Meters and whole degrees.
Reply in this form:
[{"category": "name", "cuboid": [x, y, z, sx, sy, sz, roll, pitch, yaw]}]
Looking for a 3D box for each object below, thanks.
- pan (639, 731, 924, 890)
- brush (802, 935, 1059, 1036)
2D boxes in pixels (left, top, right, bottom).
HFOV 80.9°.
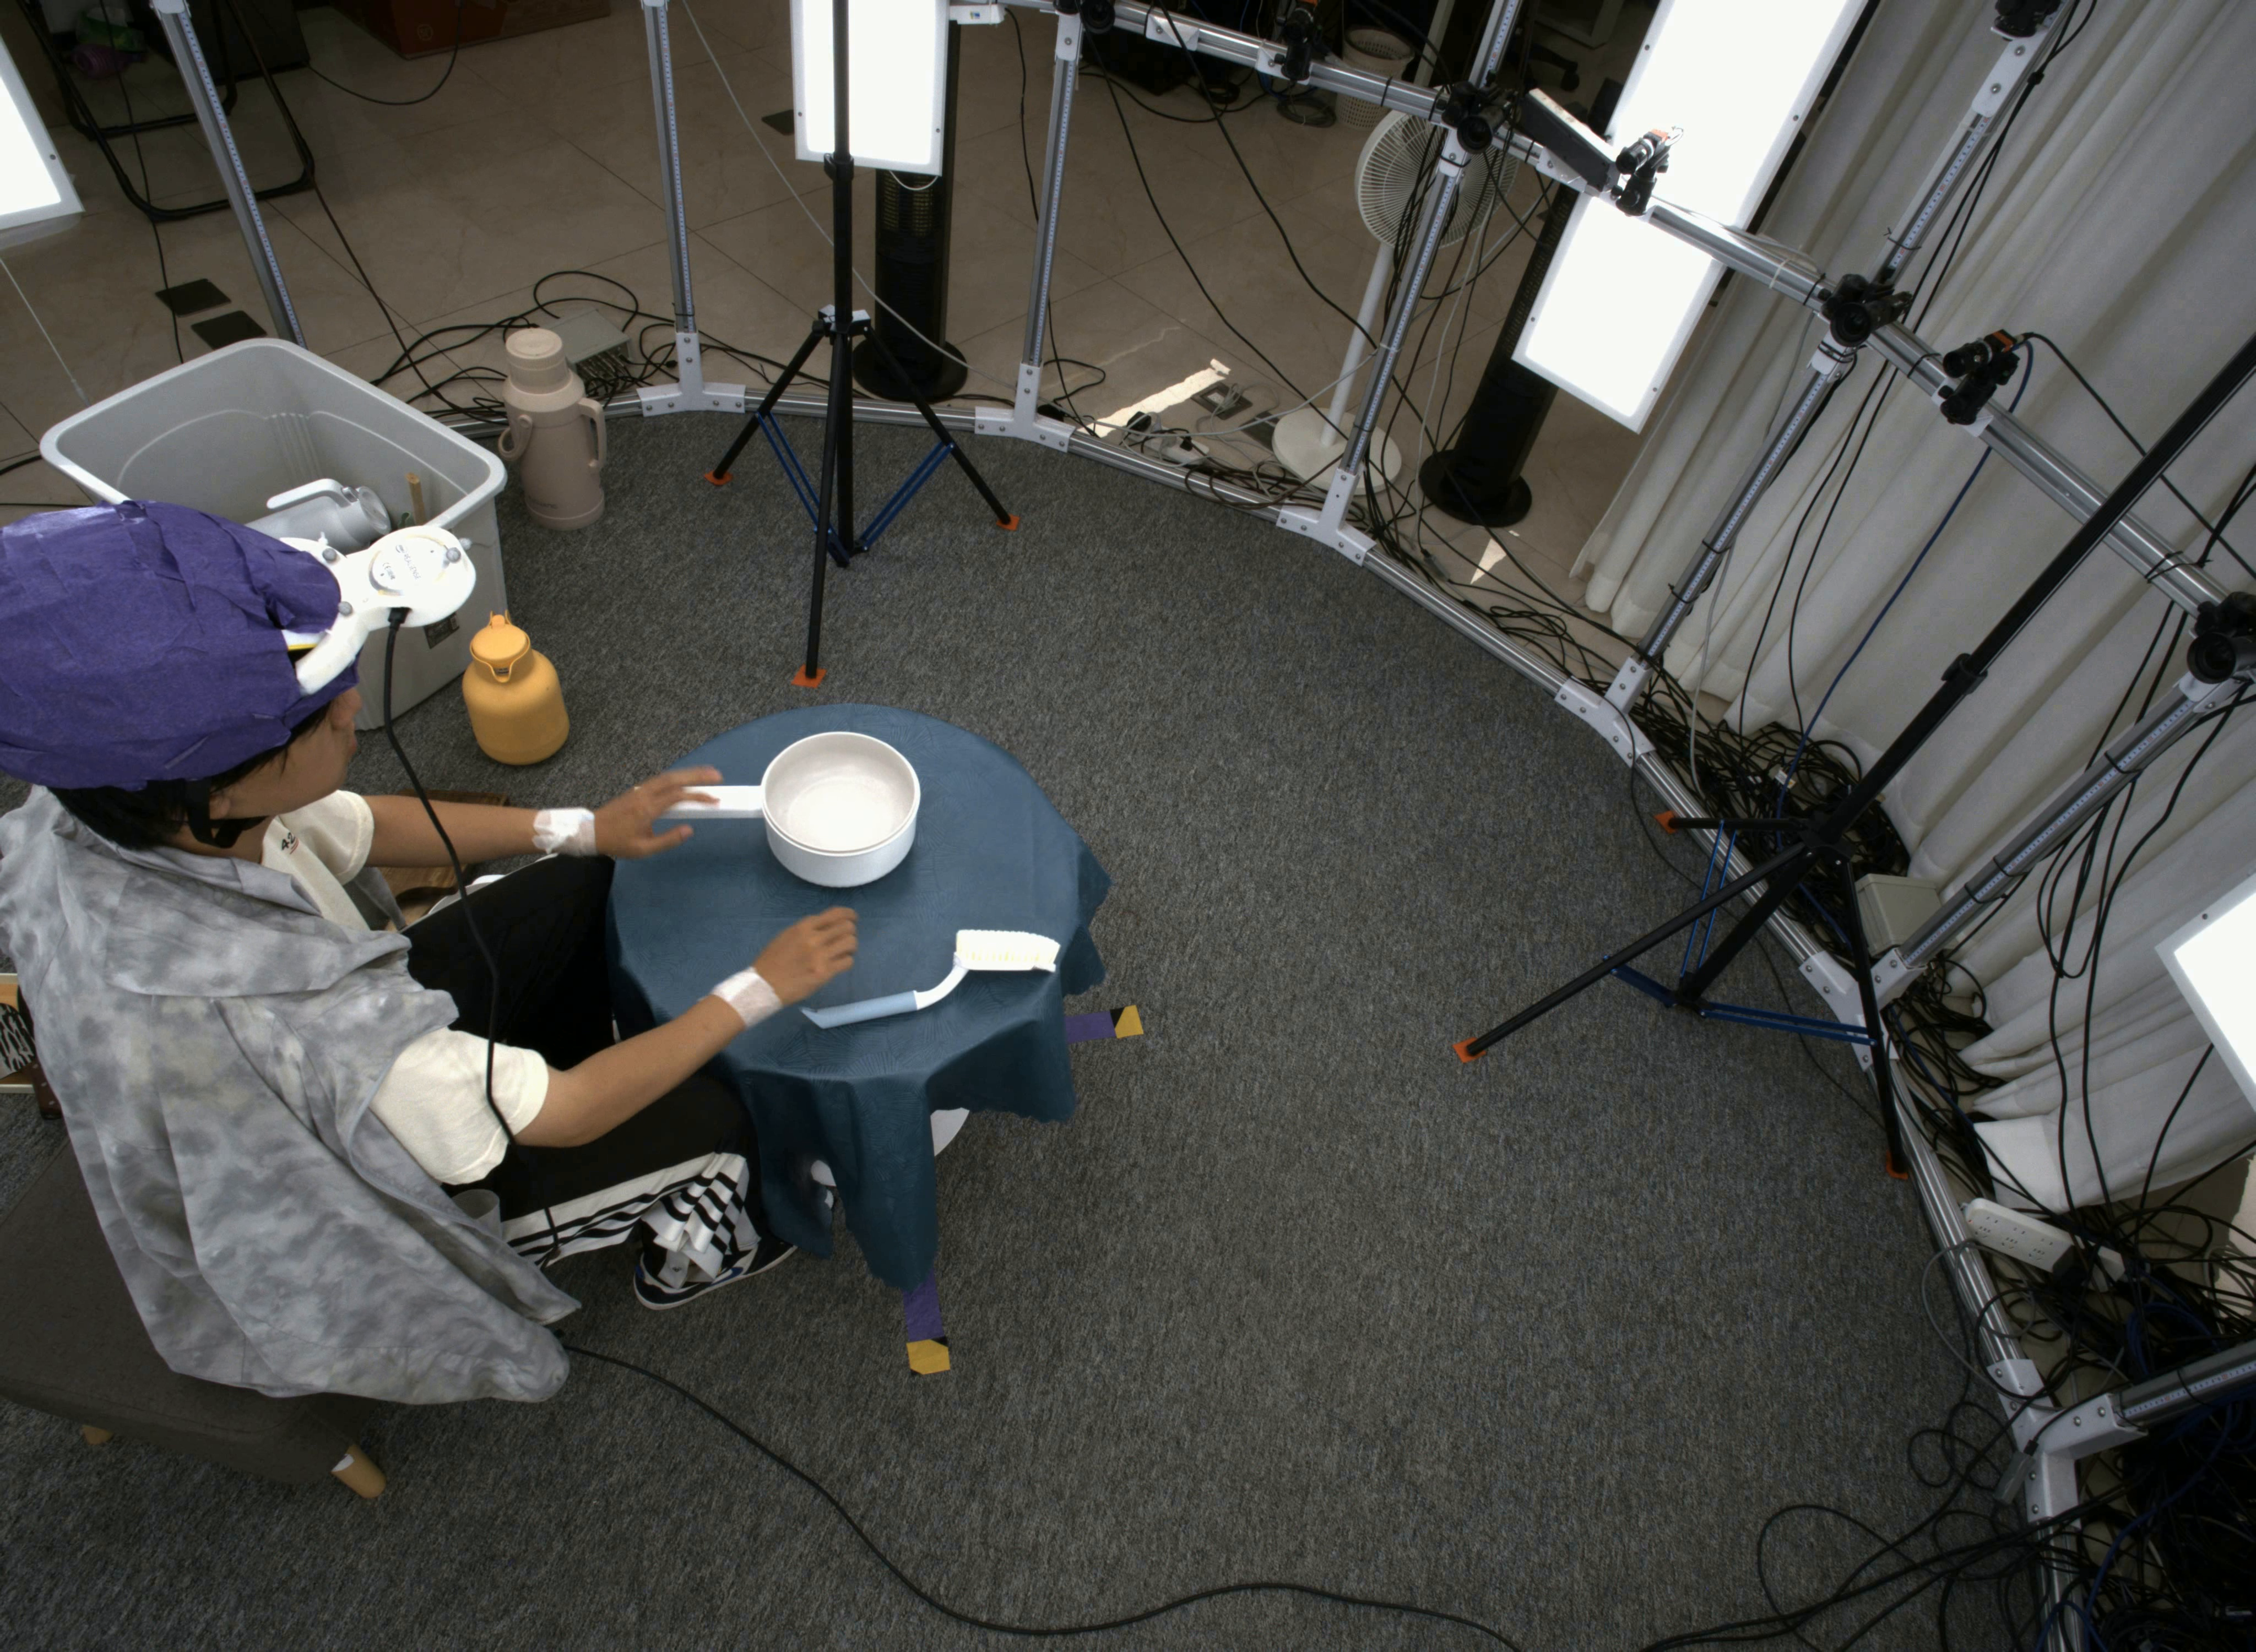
[{"category": "pan", "cuboid": [-0.441, -0.014, 1.668, 0.355, 0.104, 0.197, -2, 55, -14]}, {"category": "brush", "cuboid": [-0.239, 0.173, 1.590, 0.327, 0.084, 0.083, -10, 63, -22]}]
